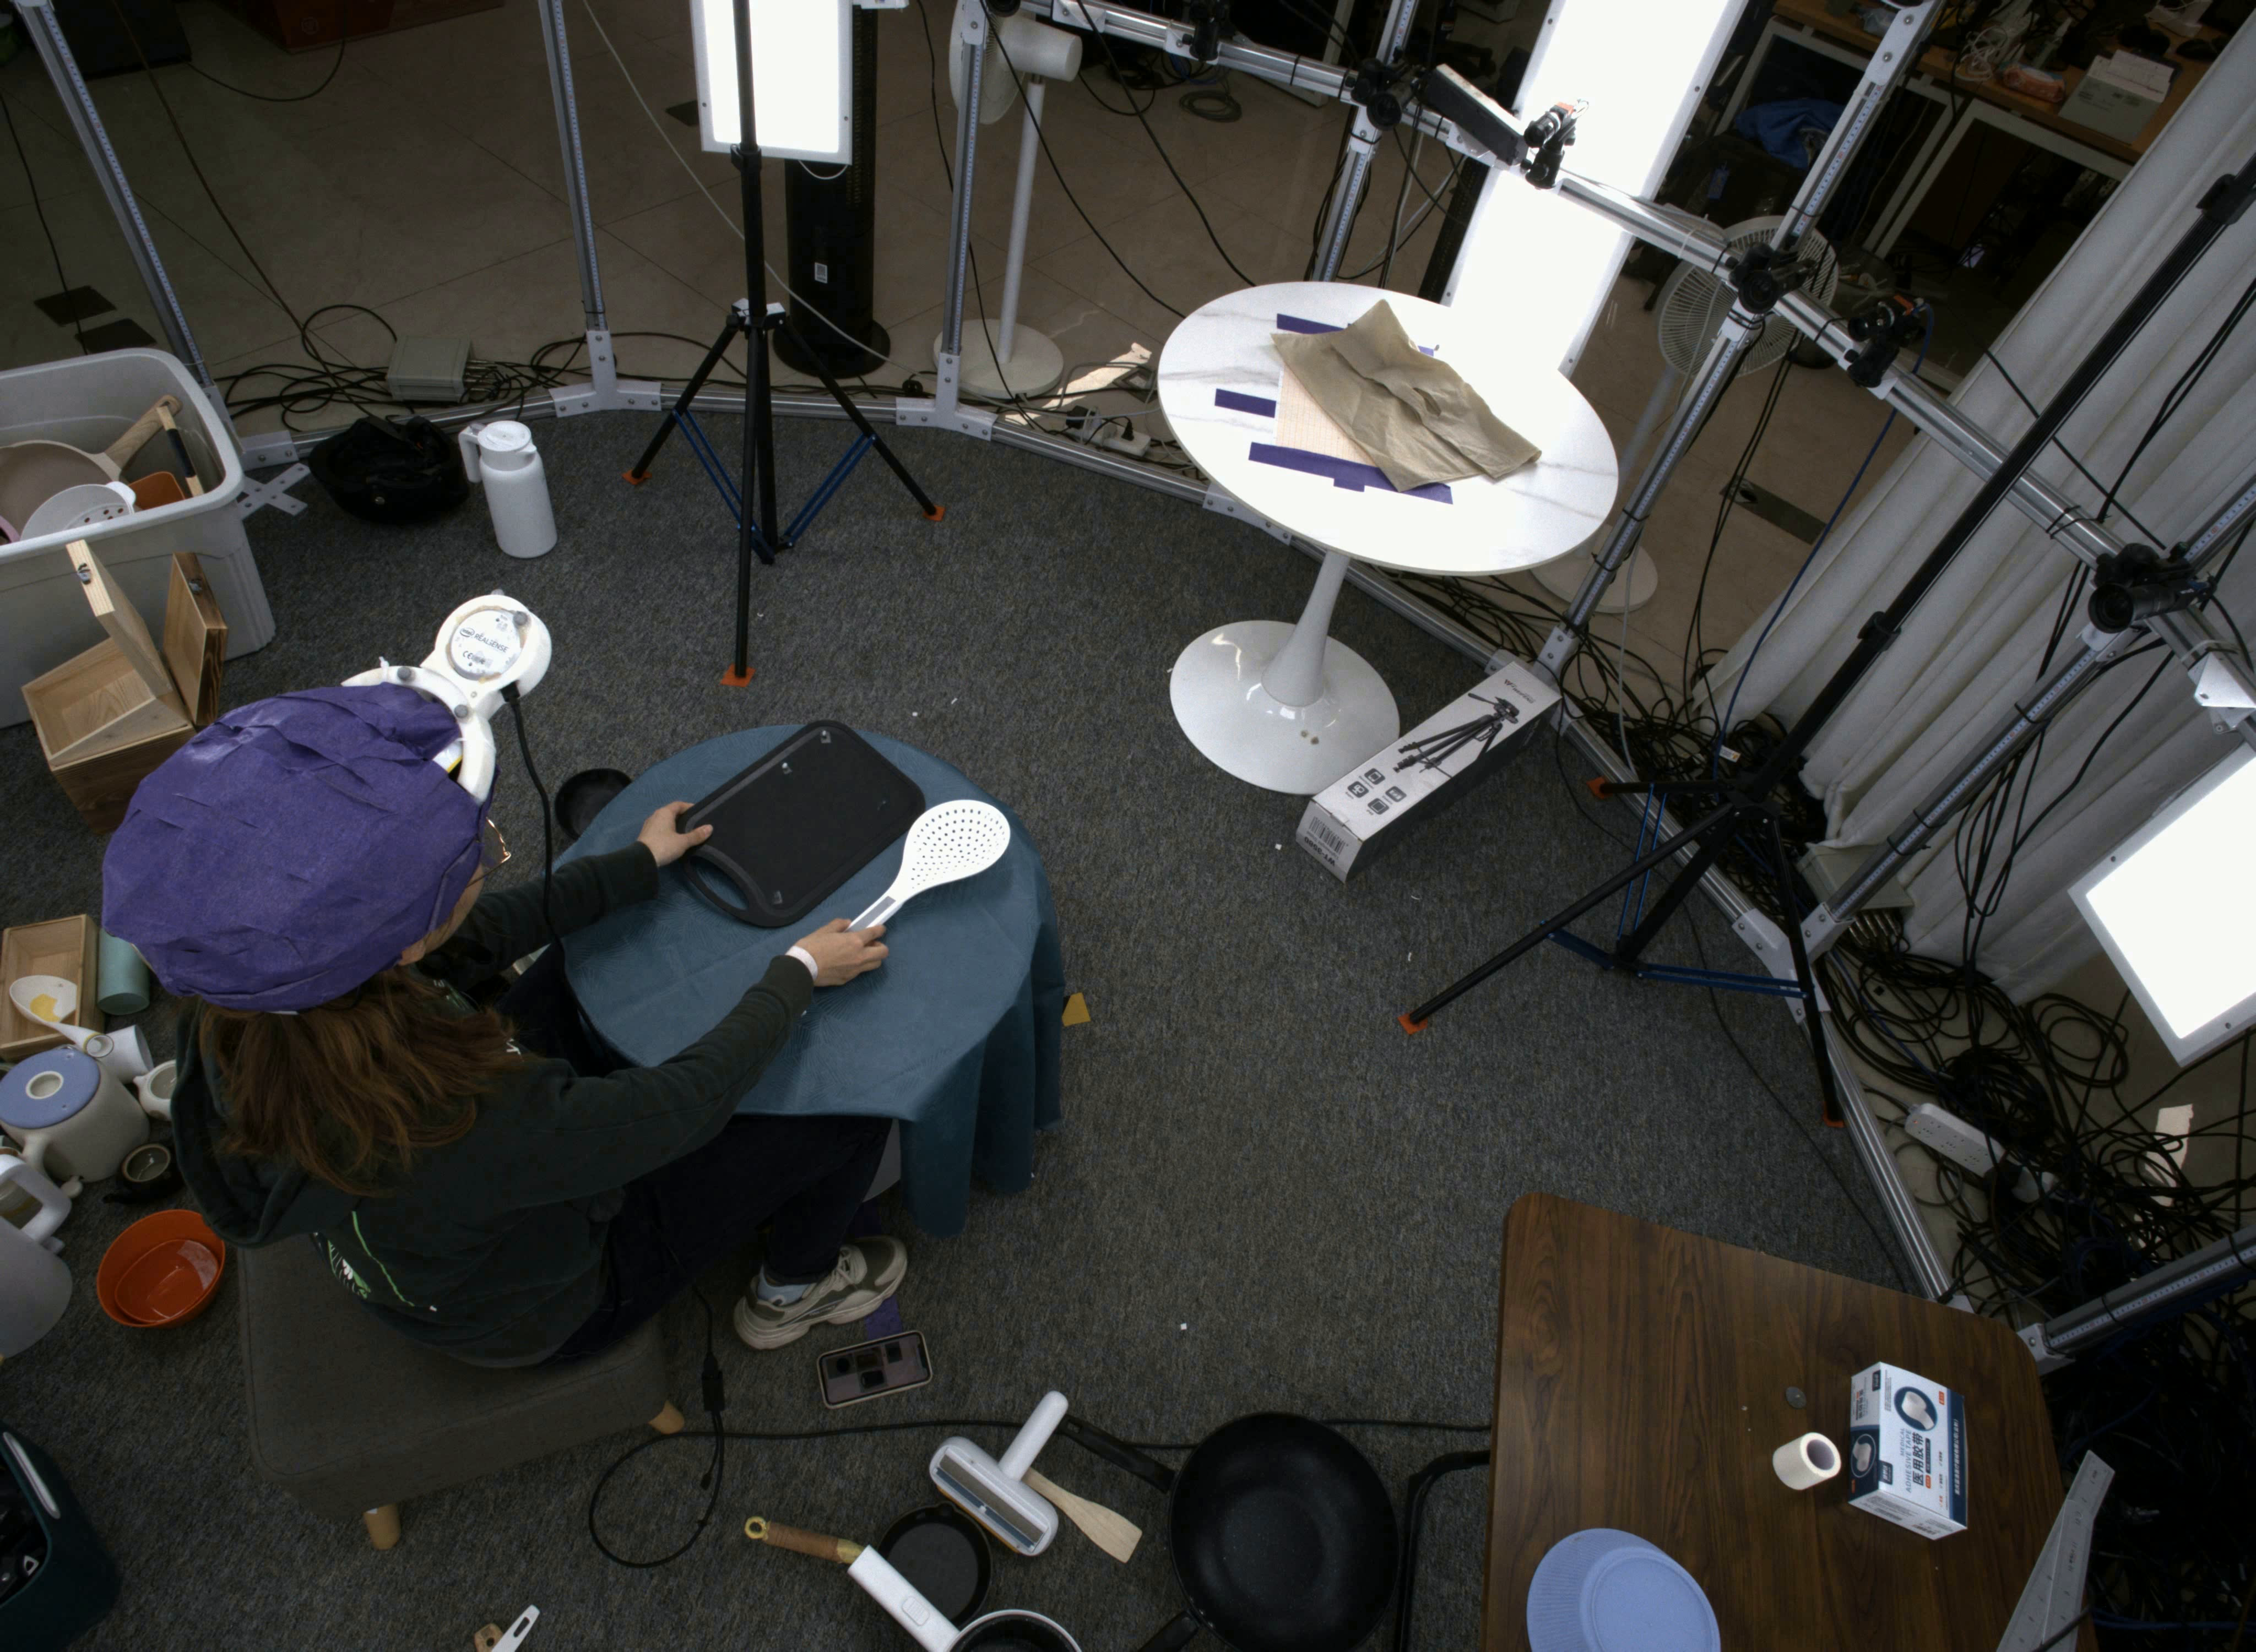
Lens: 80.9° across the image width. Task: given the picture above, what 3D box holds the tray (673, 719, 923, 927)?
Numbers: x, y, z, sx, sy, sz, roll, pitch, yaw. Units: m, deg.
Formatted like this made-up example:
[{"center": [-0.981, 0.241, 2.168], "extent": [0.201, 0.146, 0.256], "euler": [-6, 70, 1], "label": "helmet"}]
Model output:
[{"center": [-0.435, -0.008, 1.709], "extent": [0.209, 0.010, 0.325], "euler": [41, 54, 6], "label": "tray"}]

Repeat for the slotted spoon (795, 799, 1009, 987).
[{"center": [-0.290, 0.083, 1.667], "extent": [0.131, 0.047, 0.350], "euler": [29, 50, 26], "label": "slotted spoon"}]
